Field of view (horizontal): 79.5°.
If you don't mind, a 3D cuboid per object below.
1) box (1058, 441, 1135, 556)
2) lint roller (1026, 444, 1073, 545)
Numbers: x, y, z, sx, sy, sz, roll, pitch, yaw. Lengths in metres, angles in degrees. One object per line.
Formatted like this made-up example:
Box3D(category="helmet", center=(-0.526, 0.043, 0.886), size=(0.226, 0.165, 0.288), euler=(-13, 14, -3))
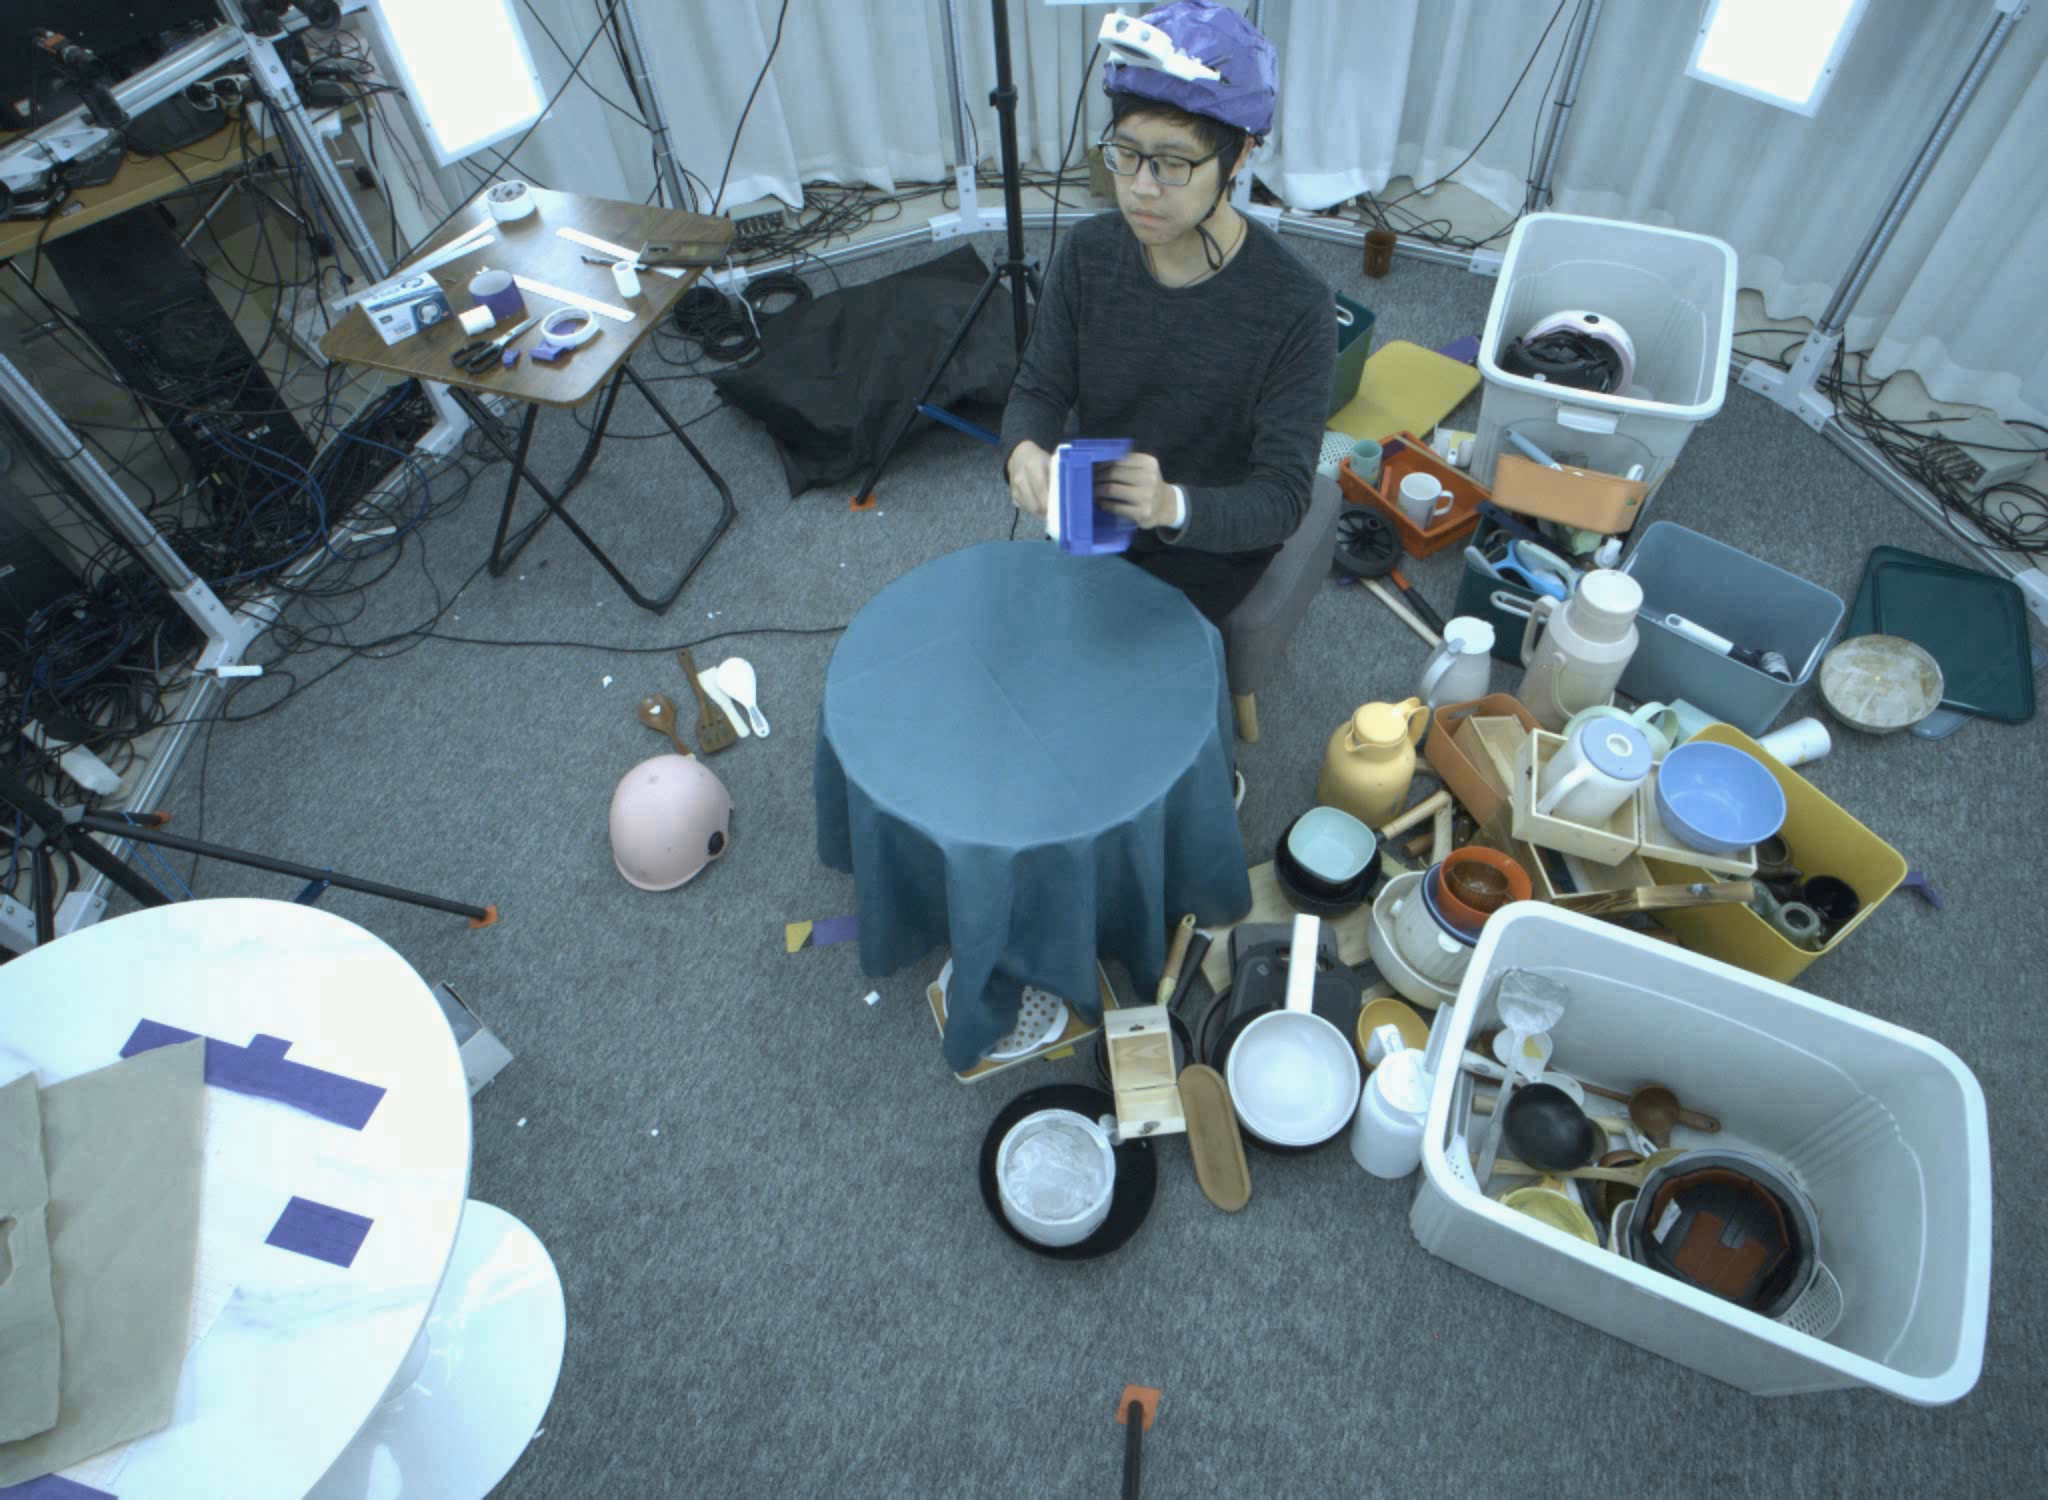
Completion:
Box3D(category="box", center=(0.088, -0.308, 1.491), size=(0.081, 0.125, 0.179), euler=(2, 19, 8))
Box3D(category="lint roller", center=(0.026, -0.354, 1.672), size=(0.051, 0.133, 0.177), euler=(-4, 17, -26))
